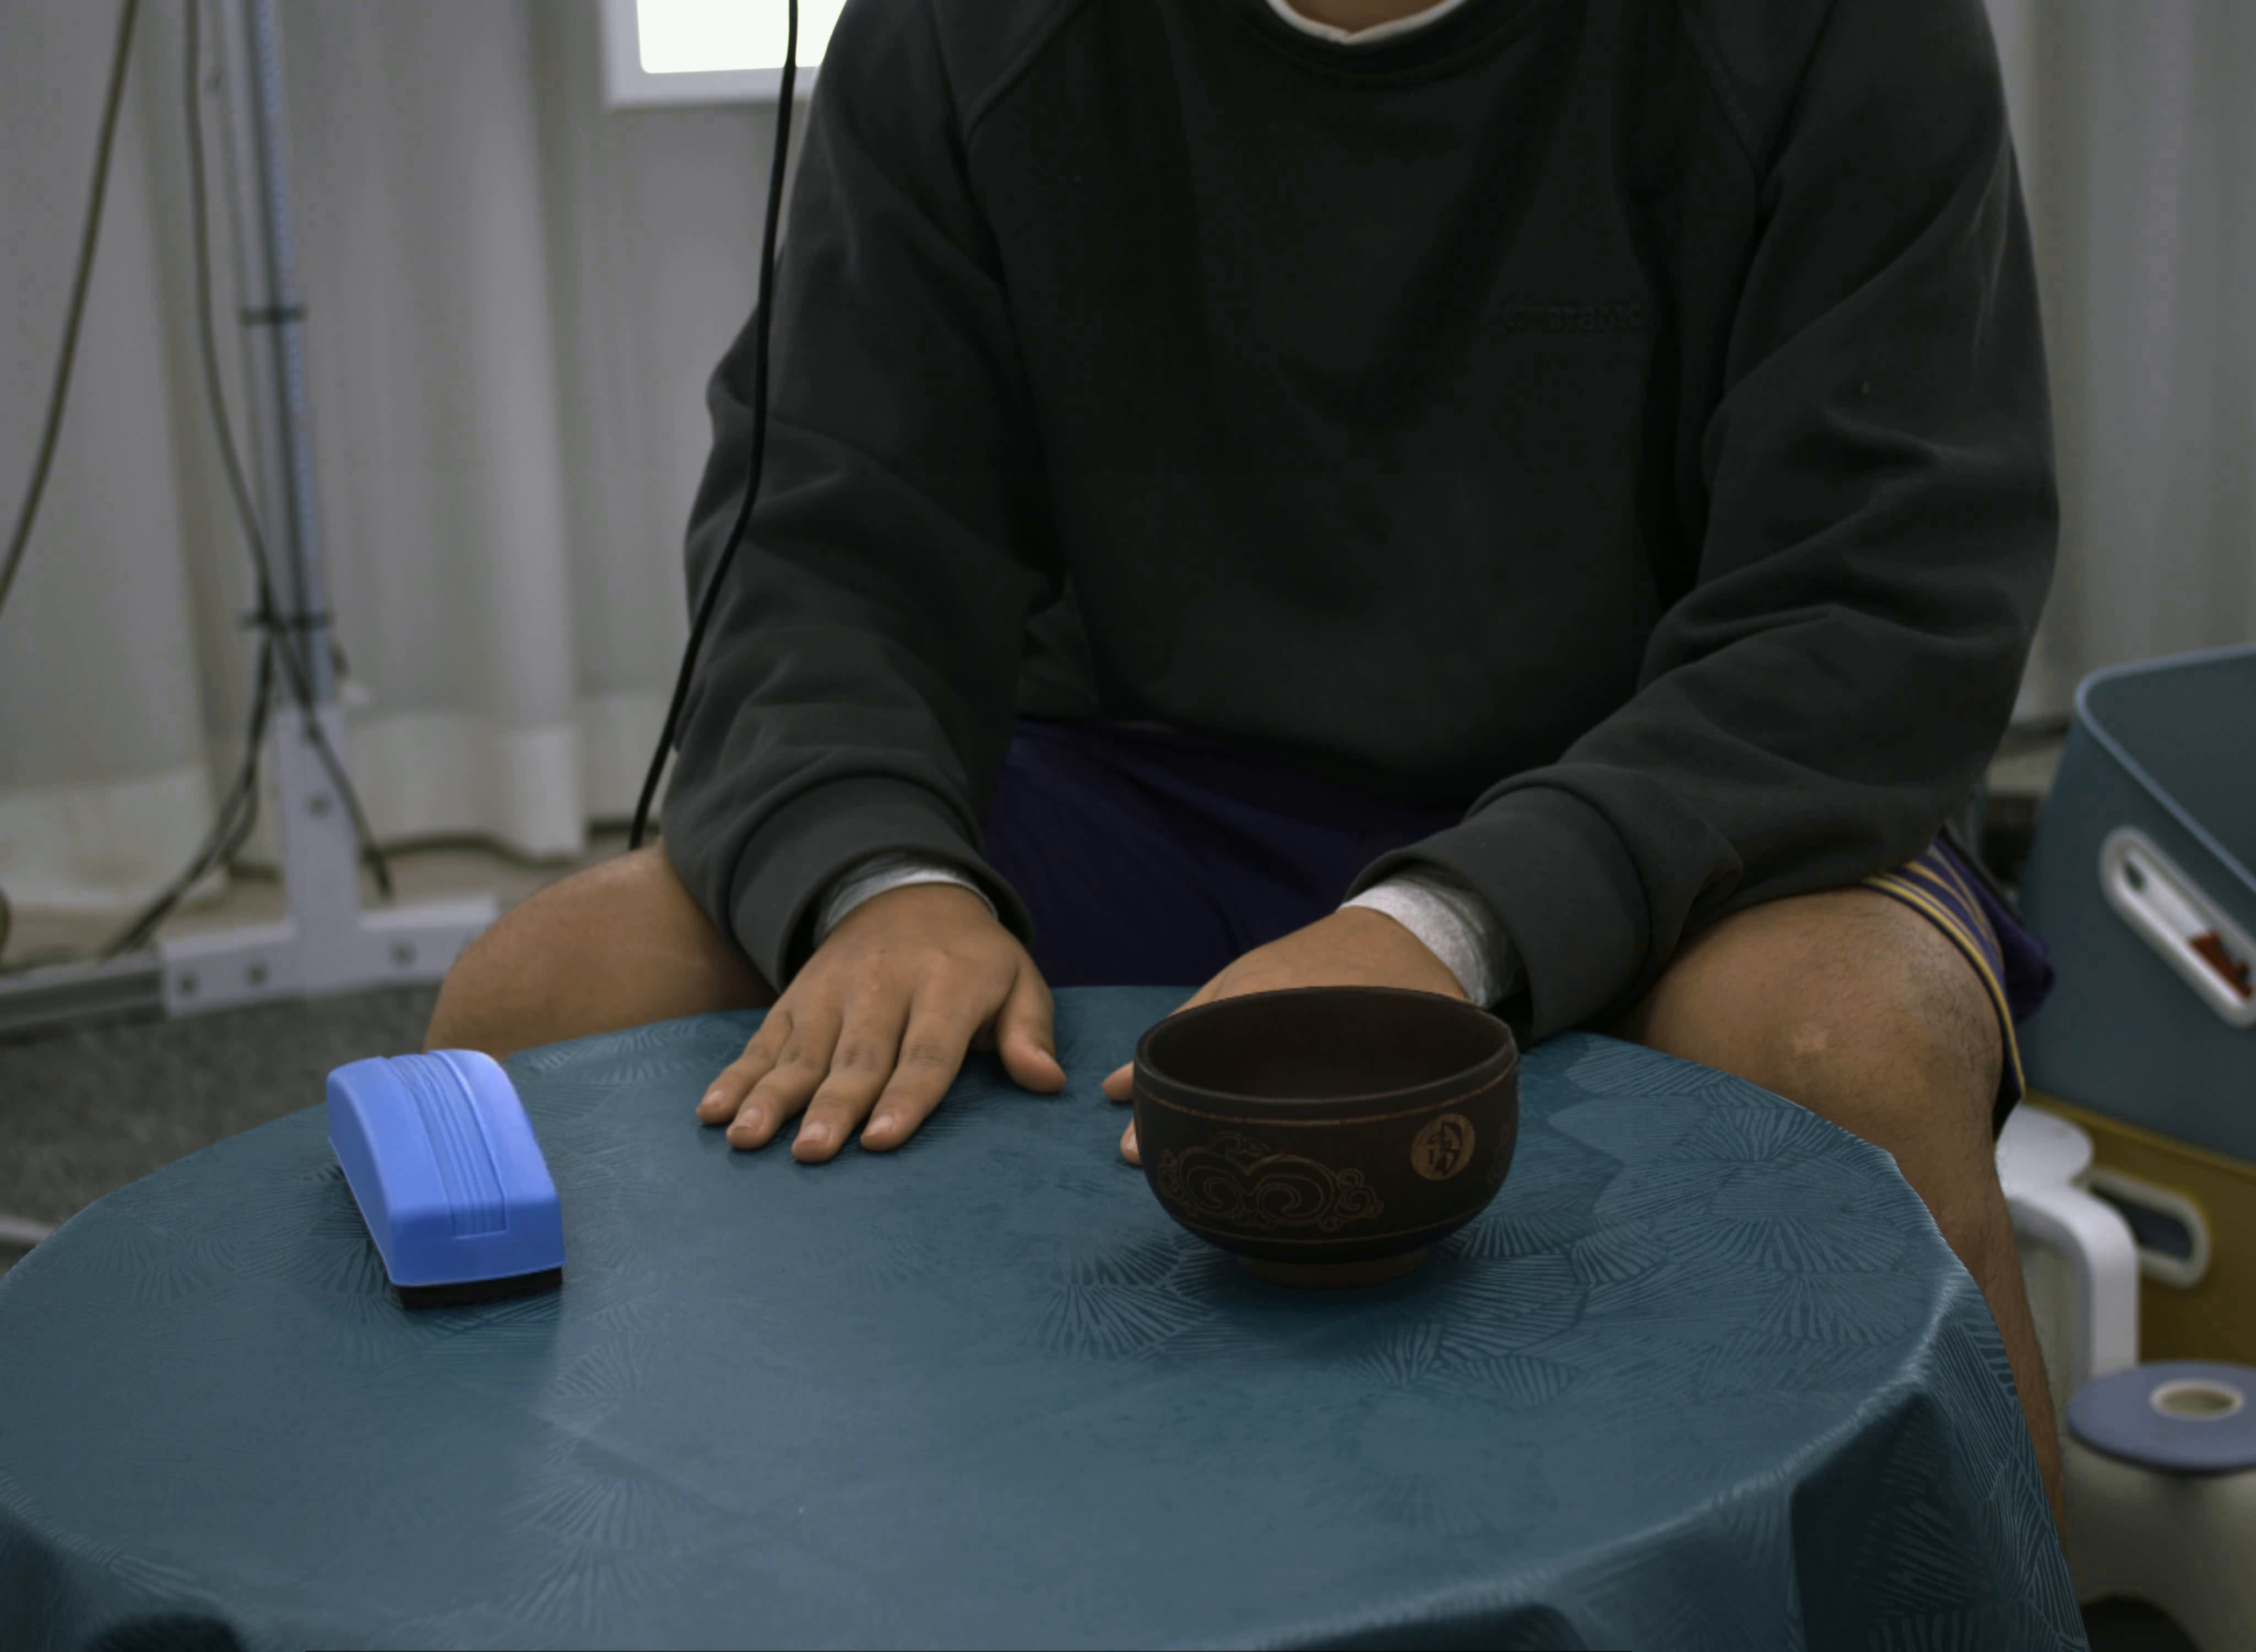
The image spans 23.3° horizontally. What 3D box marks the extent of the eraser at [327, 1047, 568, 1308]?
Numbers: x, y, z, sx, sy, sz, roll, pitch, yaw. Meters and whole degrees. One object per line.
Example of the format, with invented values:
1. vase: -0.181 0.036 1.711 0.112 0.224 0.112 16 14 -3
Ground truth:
1. eraser: -0.215 0.103 1.713 0.053 0.047 0.163 -9 16 -14

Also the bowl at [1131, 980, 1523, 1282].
1. bowl: 0.060 0.095 1.636 0.117 0.069 0.119 -3 13 1
